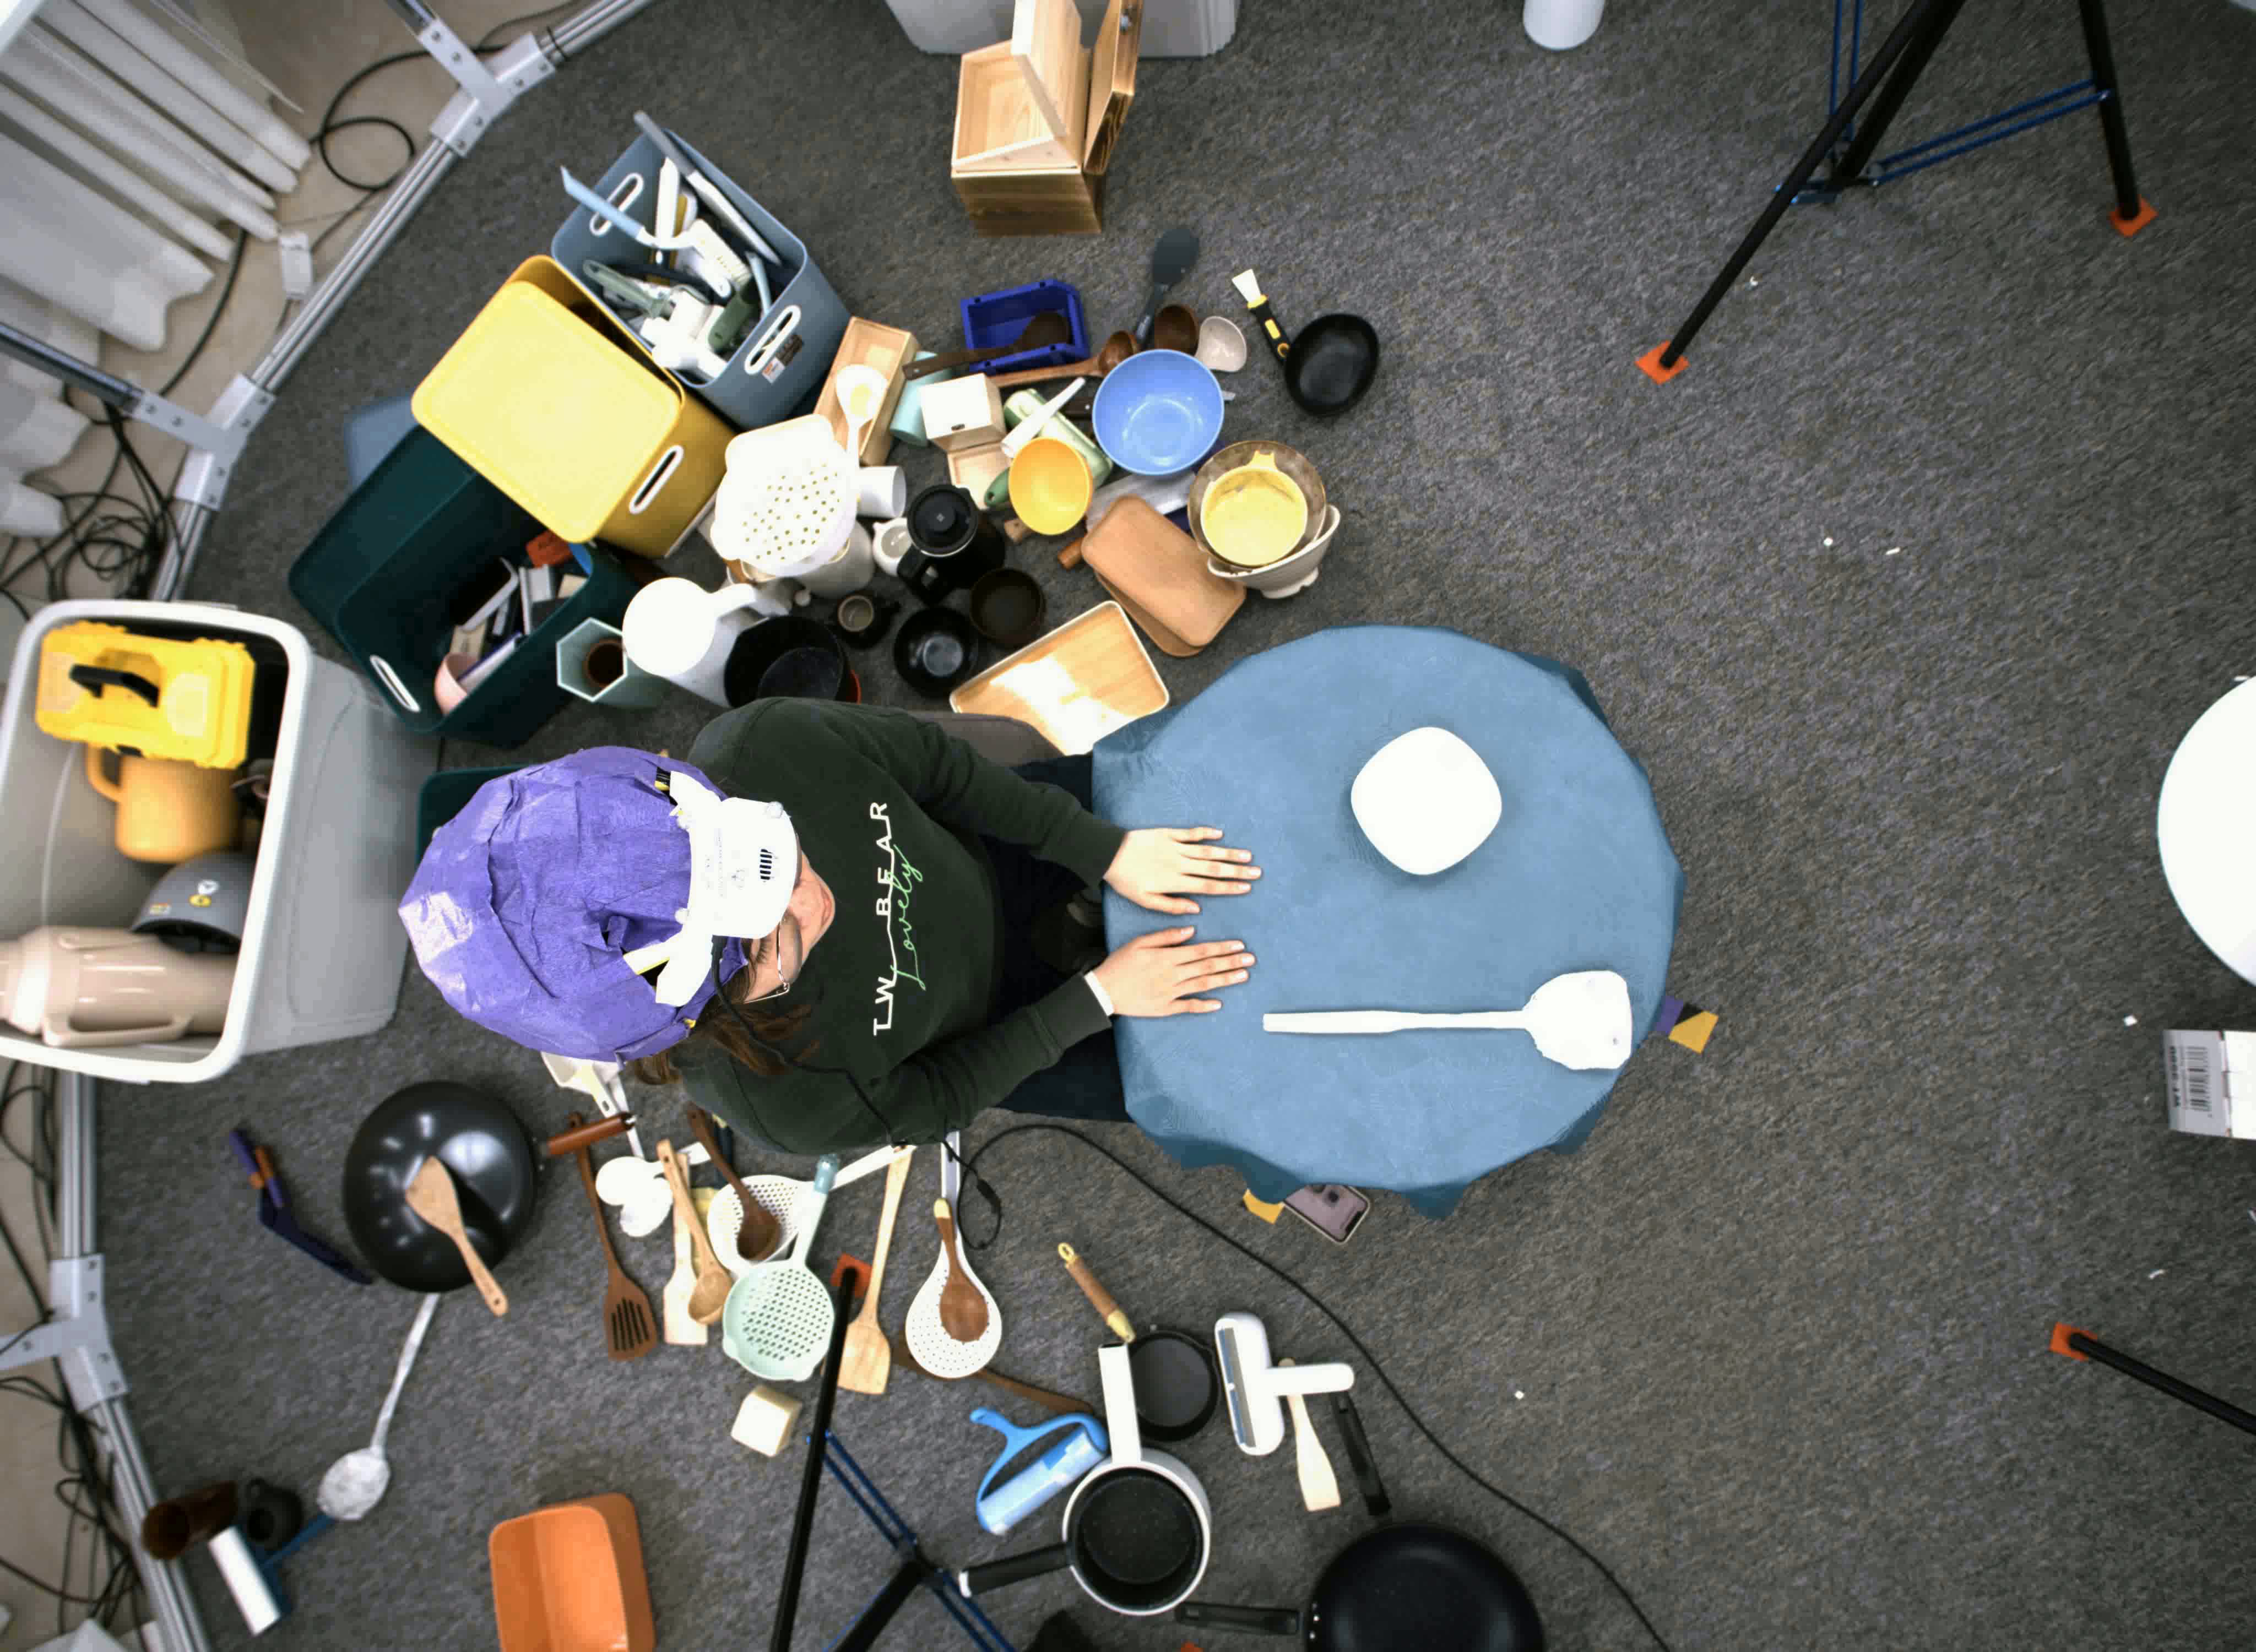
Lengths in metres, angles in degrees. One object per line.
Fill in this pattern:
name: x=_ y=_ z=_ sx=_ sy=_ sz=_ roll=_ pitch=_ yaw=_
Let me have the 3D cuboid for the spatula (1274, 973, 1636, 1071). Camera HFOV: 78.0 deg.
spatula: x=0.332 y=0.197 z=1.425 sx=0.366 sy=0.045 sz=0.098 roll=-1 pitch=87 yaw=10

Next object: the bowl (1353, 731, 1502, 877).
bowl: x=0.310 y=-0.021 z=1.436 sx=0.152 sy=0.059 sz=0.150 roll=-1 pitch=85 yaw=8
